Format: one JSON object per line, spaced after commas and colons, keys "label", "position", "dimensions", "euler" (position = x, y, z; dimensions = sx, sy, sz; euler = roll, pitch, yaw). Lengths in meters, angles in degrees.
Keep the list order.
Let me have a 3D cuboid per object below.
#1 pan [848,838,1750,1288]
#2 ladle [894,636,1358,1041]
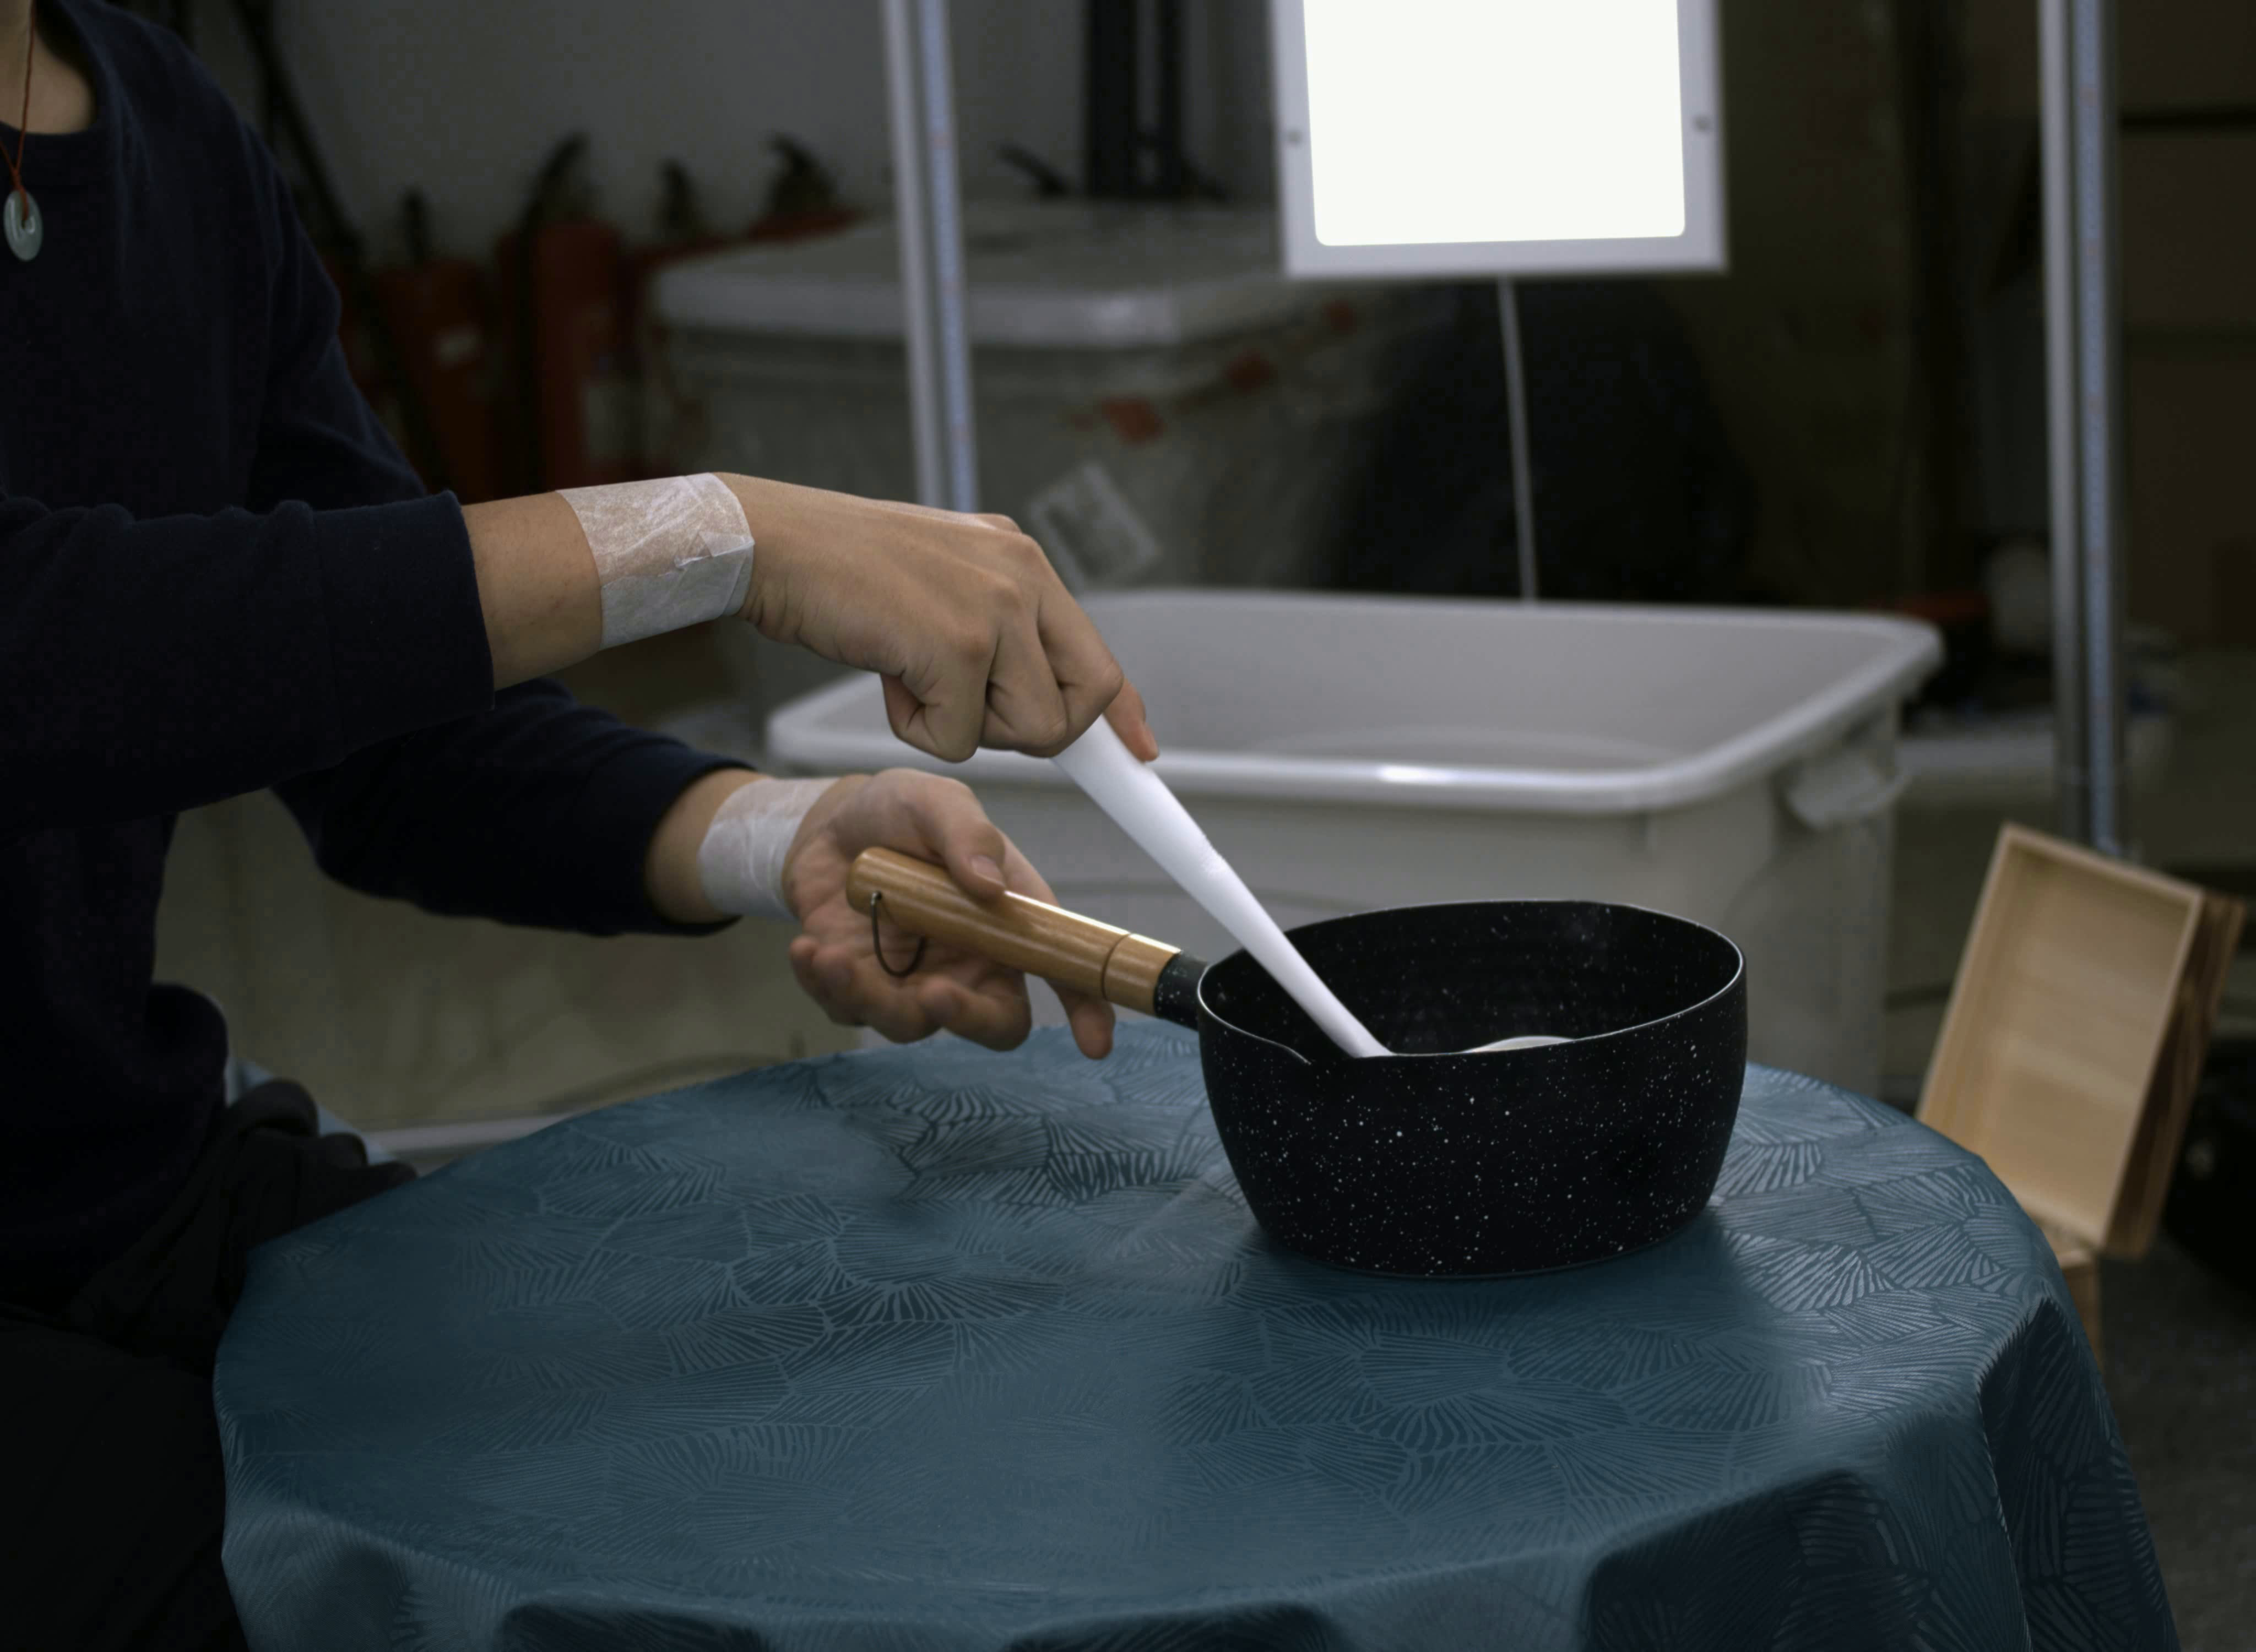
{"label": "pan", "position": [0.049, 0.072, 1.874], "dimensions": [0.349, 0.108, 0.202], "euler": [6, 18, 33]}
{"label": "ladle", "position": [0.053, 0.033, 1.797], "dimensions": [0.071, 0.291, 0.089], "euler": [-39, 16, 37]}
